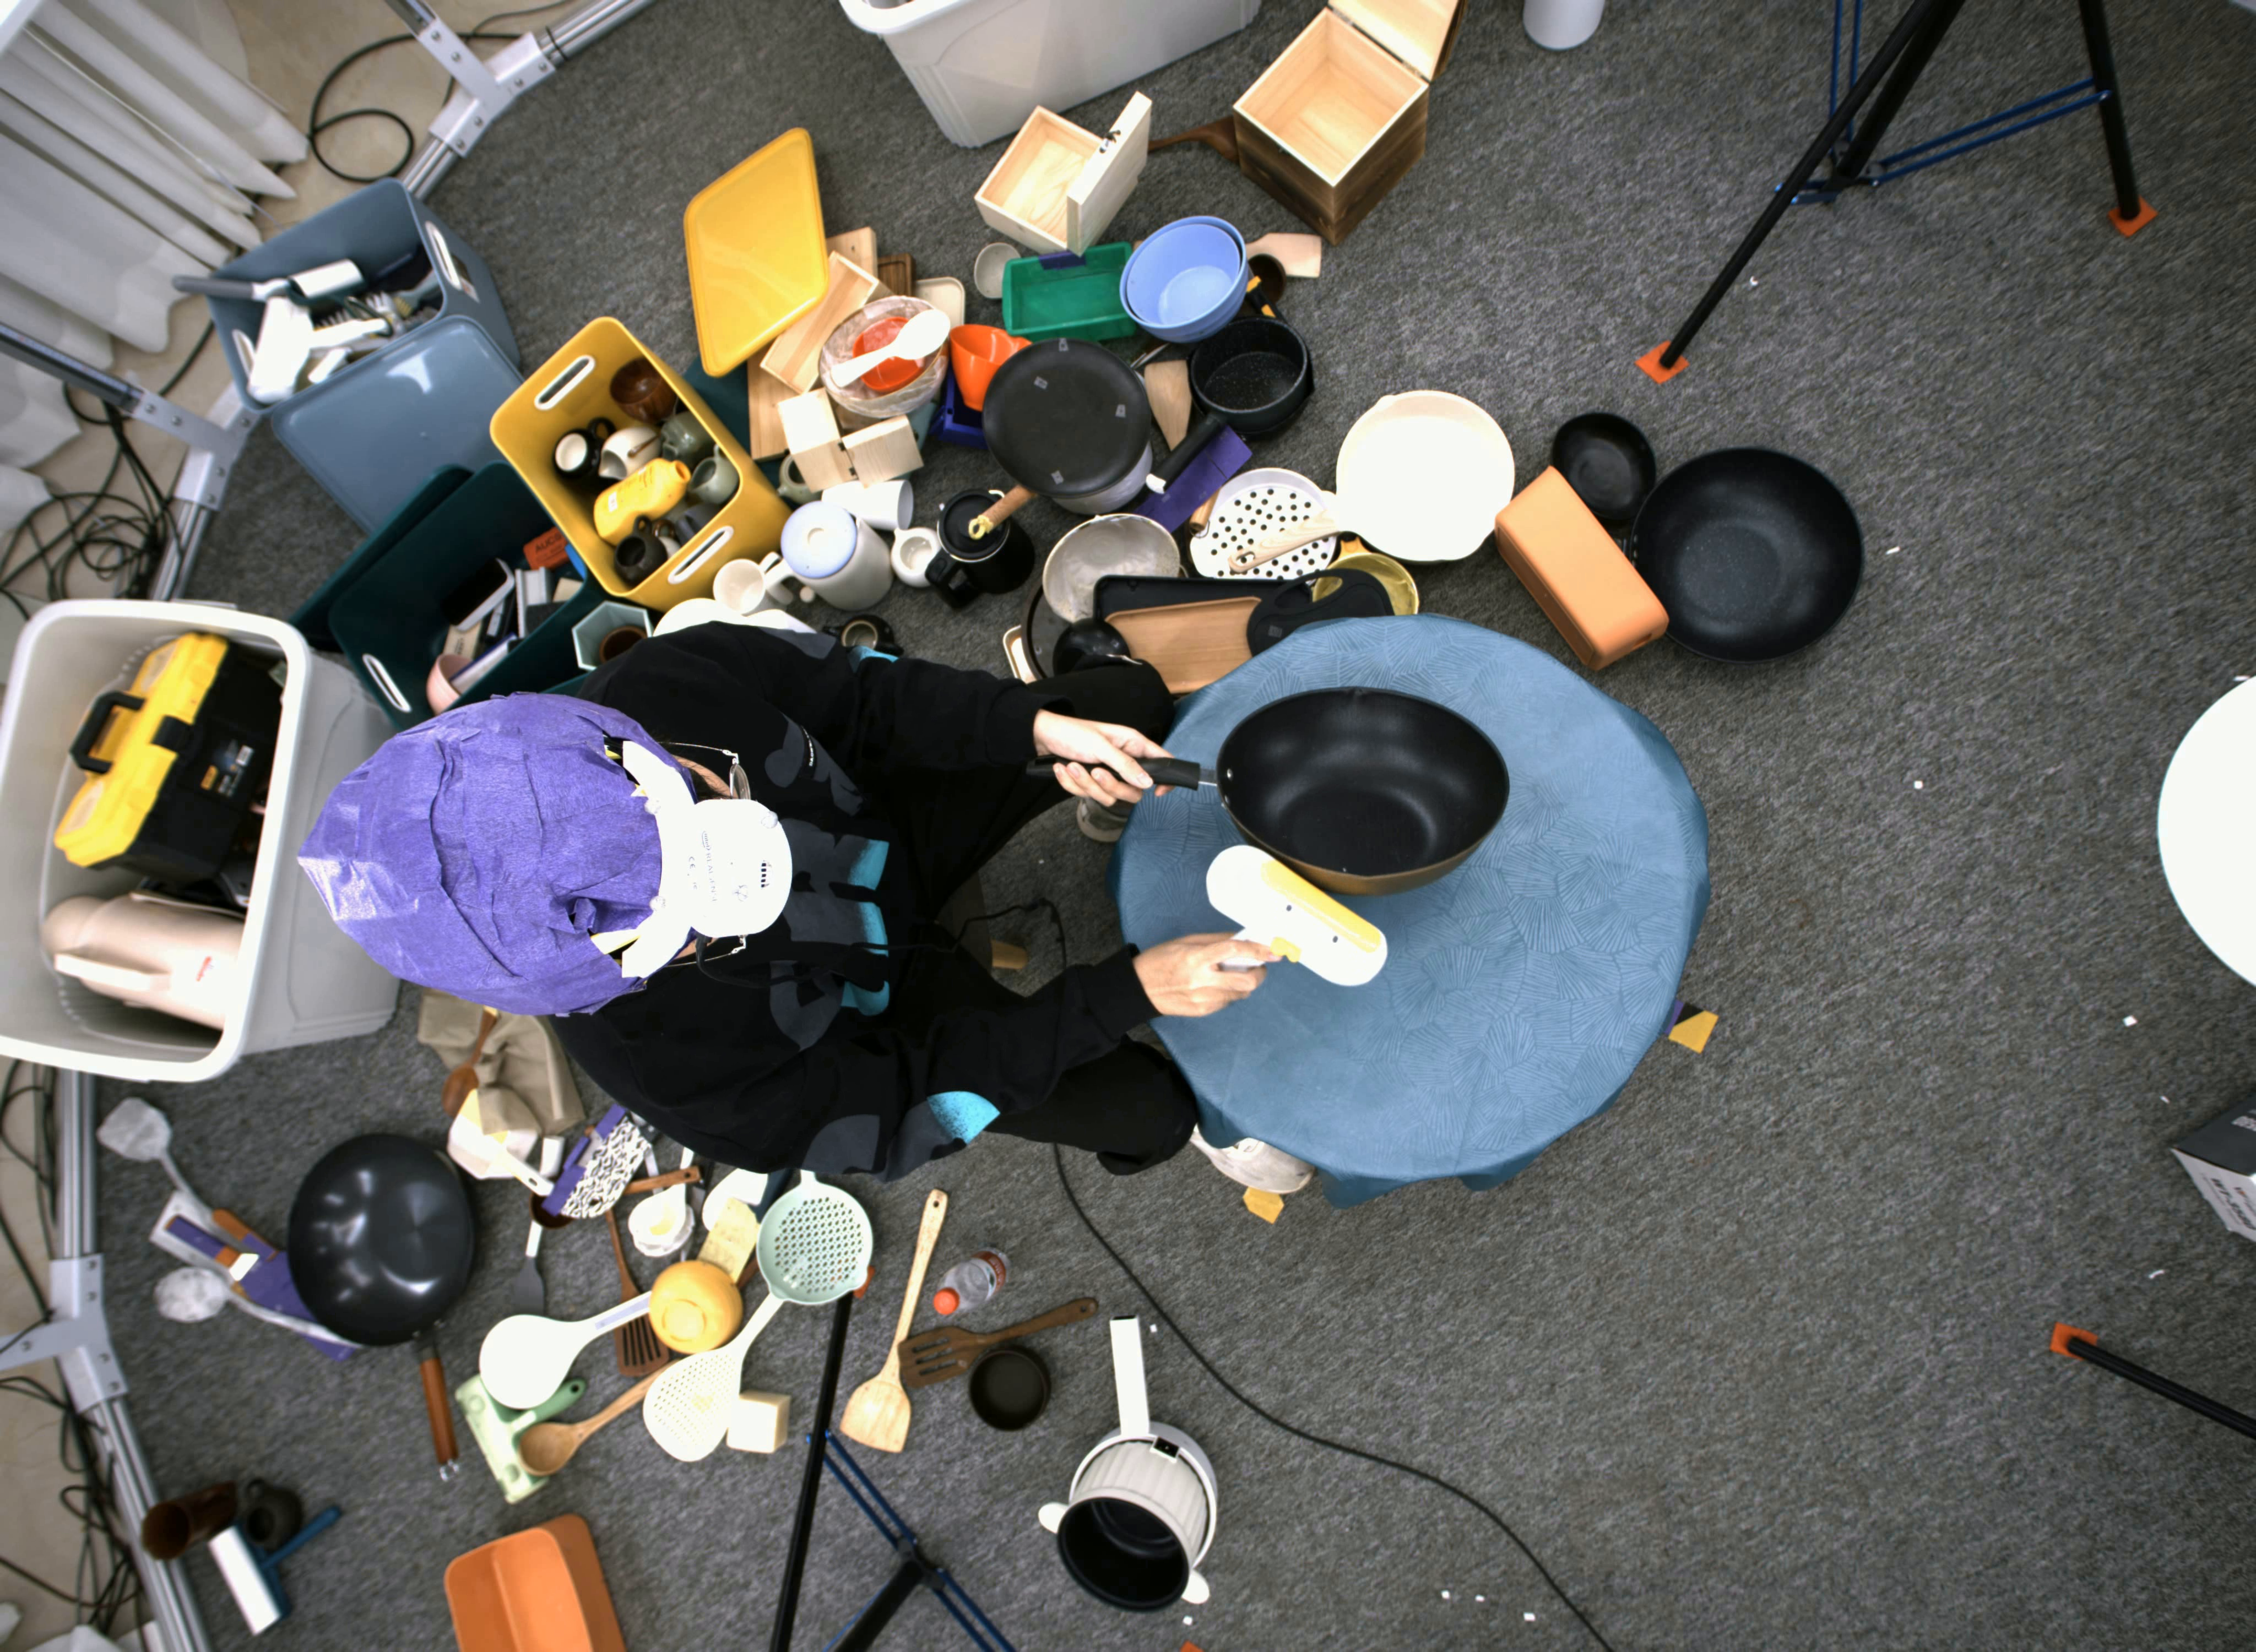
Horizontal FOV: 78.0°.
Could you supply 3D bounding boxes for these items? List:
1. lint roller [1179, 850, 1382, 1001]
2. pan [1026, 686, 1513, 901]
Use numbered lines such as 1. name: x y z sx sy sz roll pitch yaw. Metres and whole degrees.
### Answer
1. lint roller: 0.115 0.109 1.304 0.193 0.196 0.072 25 56 -24
2. pan: 0.133 -0.025 1.343 0.465 0.089 0.280 2 44 7
